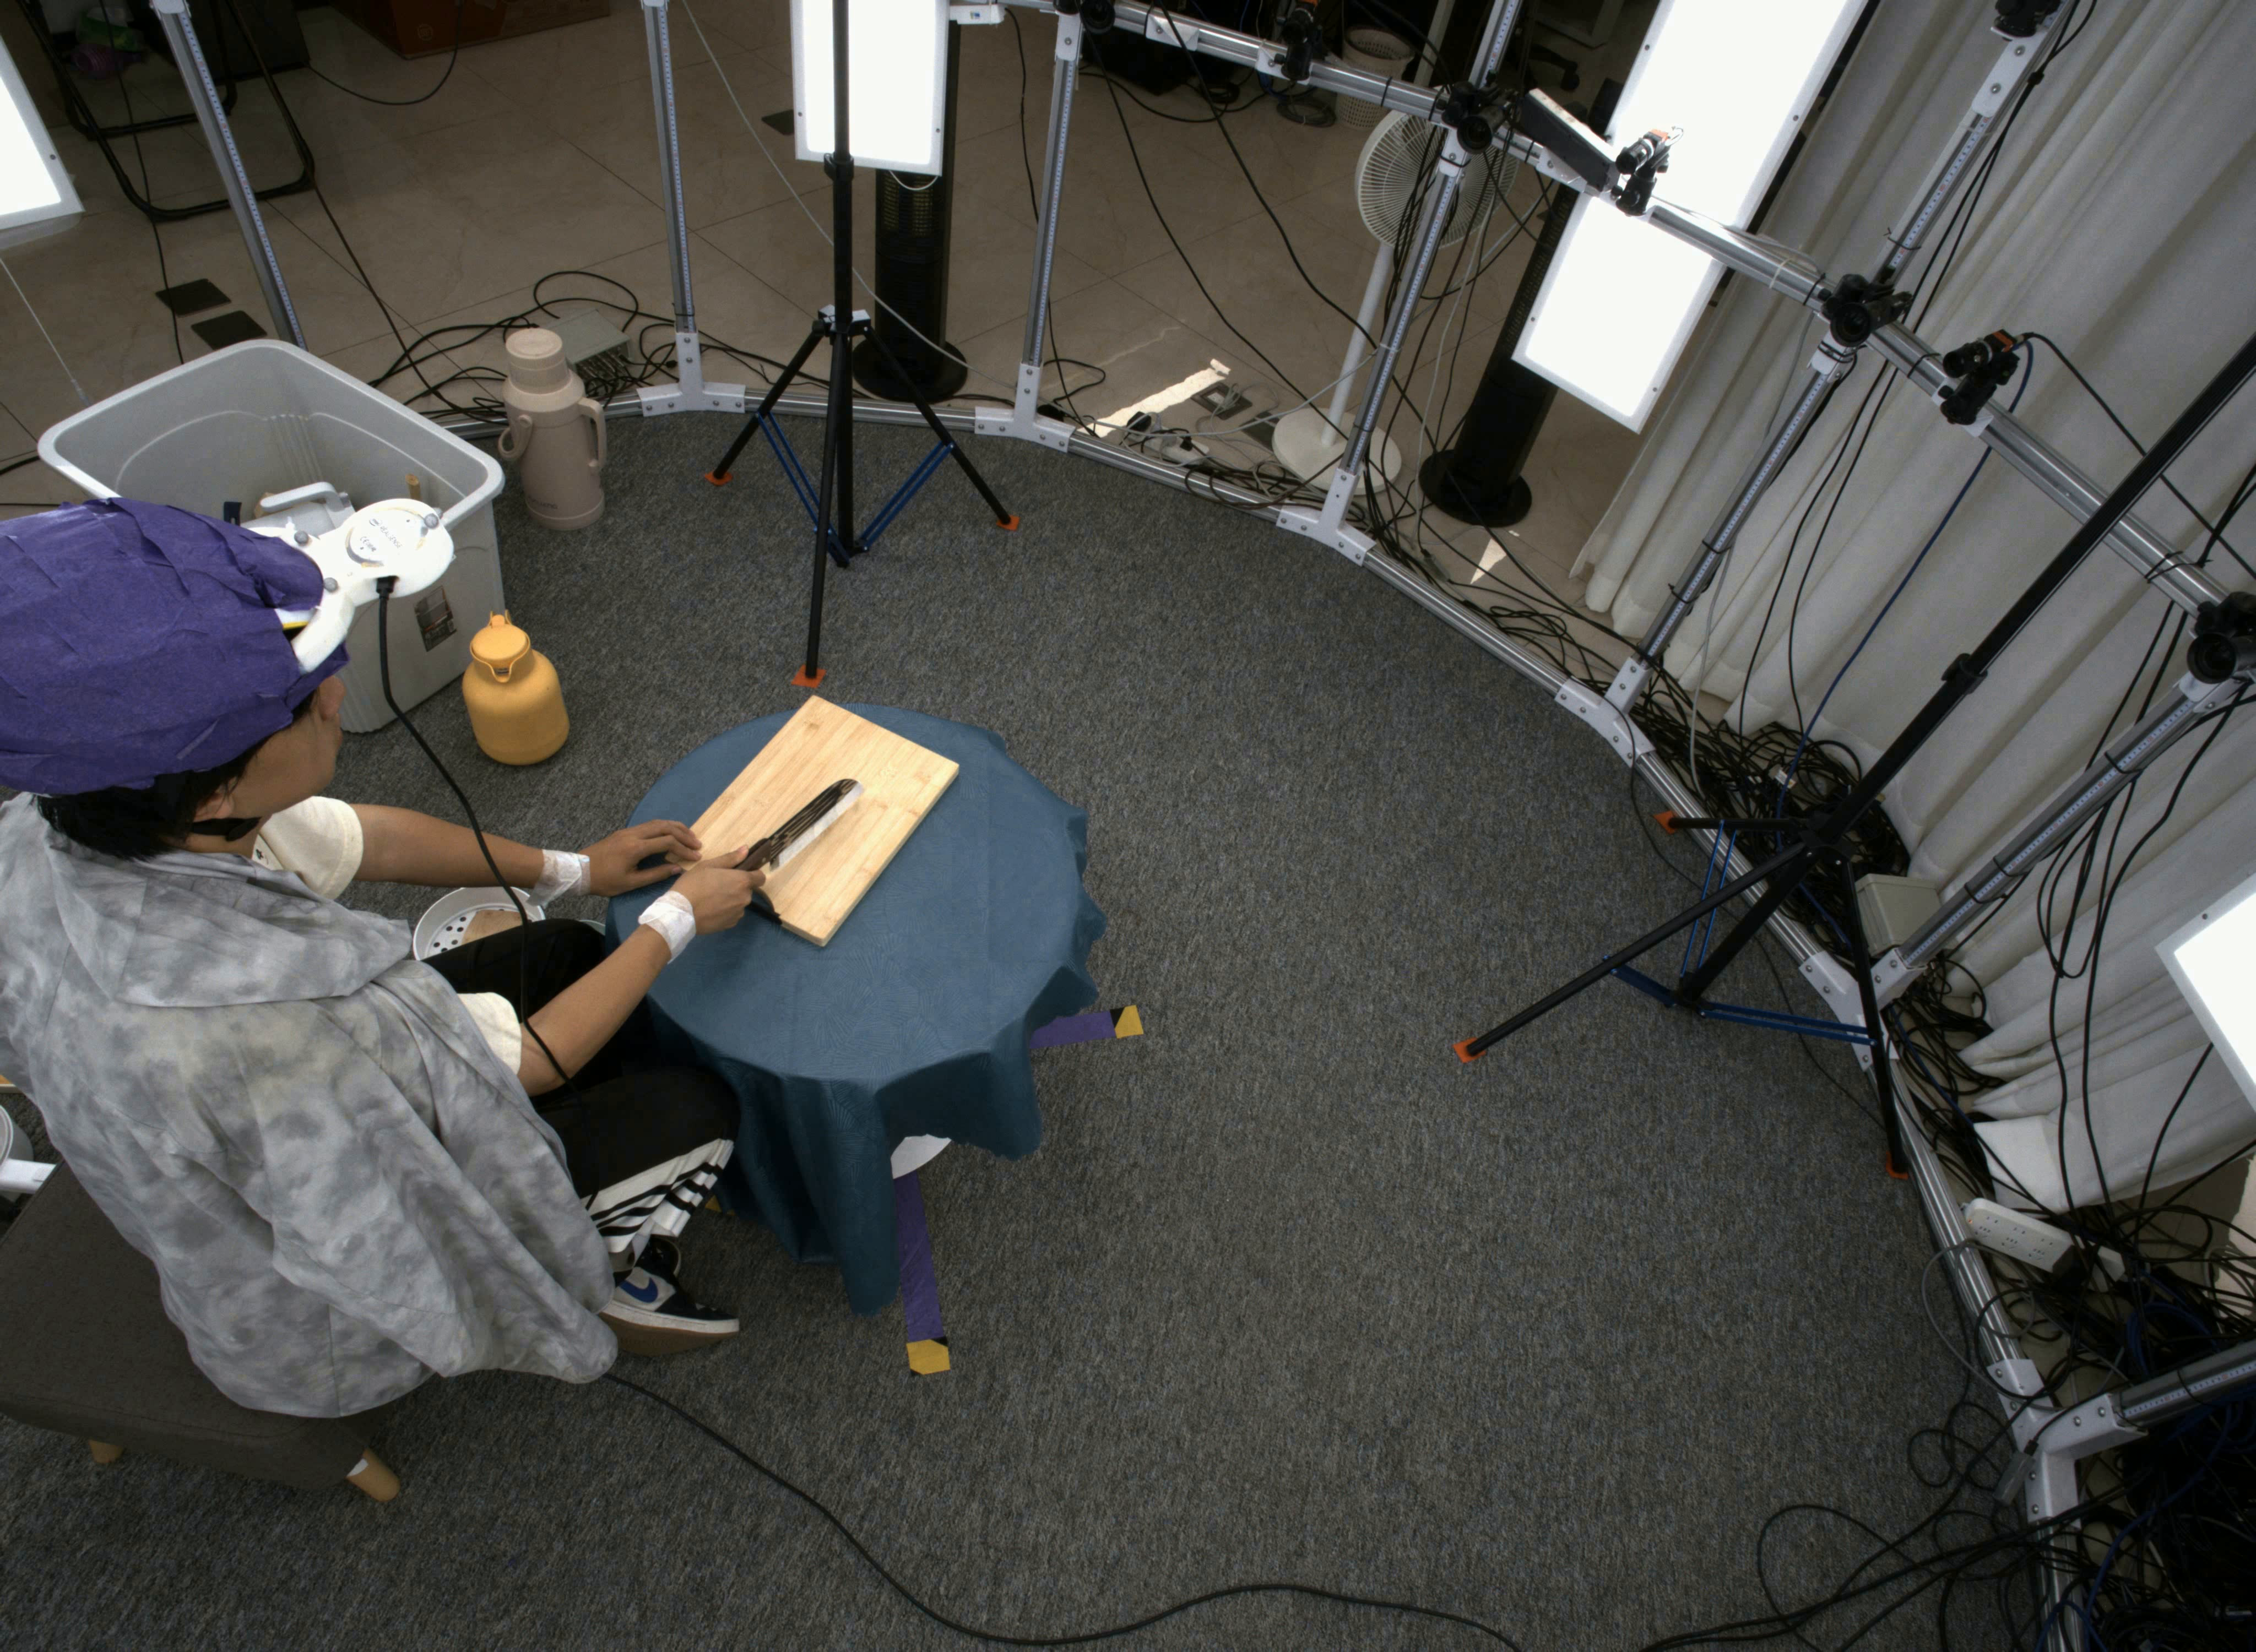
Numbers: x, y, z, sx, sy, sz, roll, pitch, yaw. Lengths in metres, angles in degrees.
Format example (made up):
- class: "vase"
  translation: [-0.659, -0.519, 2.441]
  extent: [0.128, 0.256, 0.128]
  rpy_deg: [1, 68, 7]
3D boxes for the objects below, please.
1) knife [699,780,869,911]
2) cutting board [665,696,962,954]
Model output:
- class: "knife"
  translation: [-0.427, 0.023, 1.637]
  extent: [0.023, 0.070, 0.299]
  rpy_deg: [27, 49, 19]
- class: "cutting board"
  translation: [-0.409, -0.013, 1.729]
  extent: [0.247, 0.024, 0.346]
  rpy_deg: [26, 52, 6]
